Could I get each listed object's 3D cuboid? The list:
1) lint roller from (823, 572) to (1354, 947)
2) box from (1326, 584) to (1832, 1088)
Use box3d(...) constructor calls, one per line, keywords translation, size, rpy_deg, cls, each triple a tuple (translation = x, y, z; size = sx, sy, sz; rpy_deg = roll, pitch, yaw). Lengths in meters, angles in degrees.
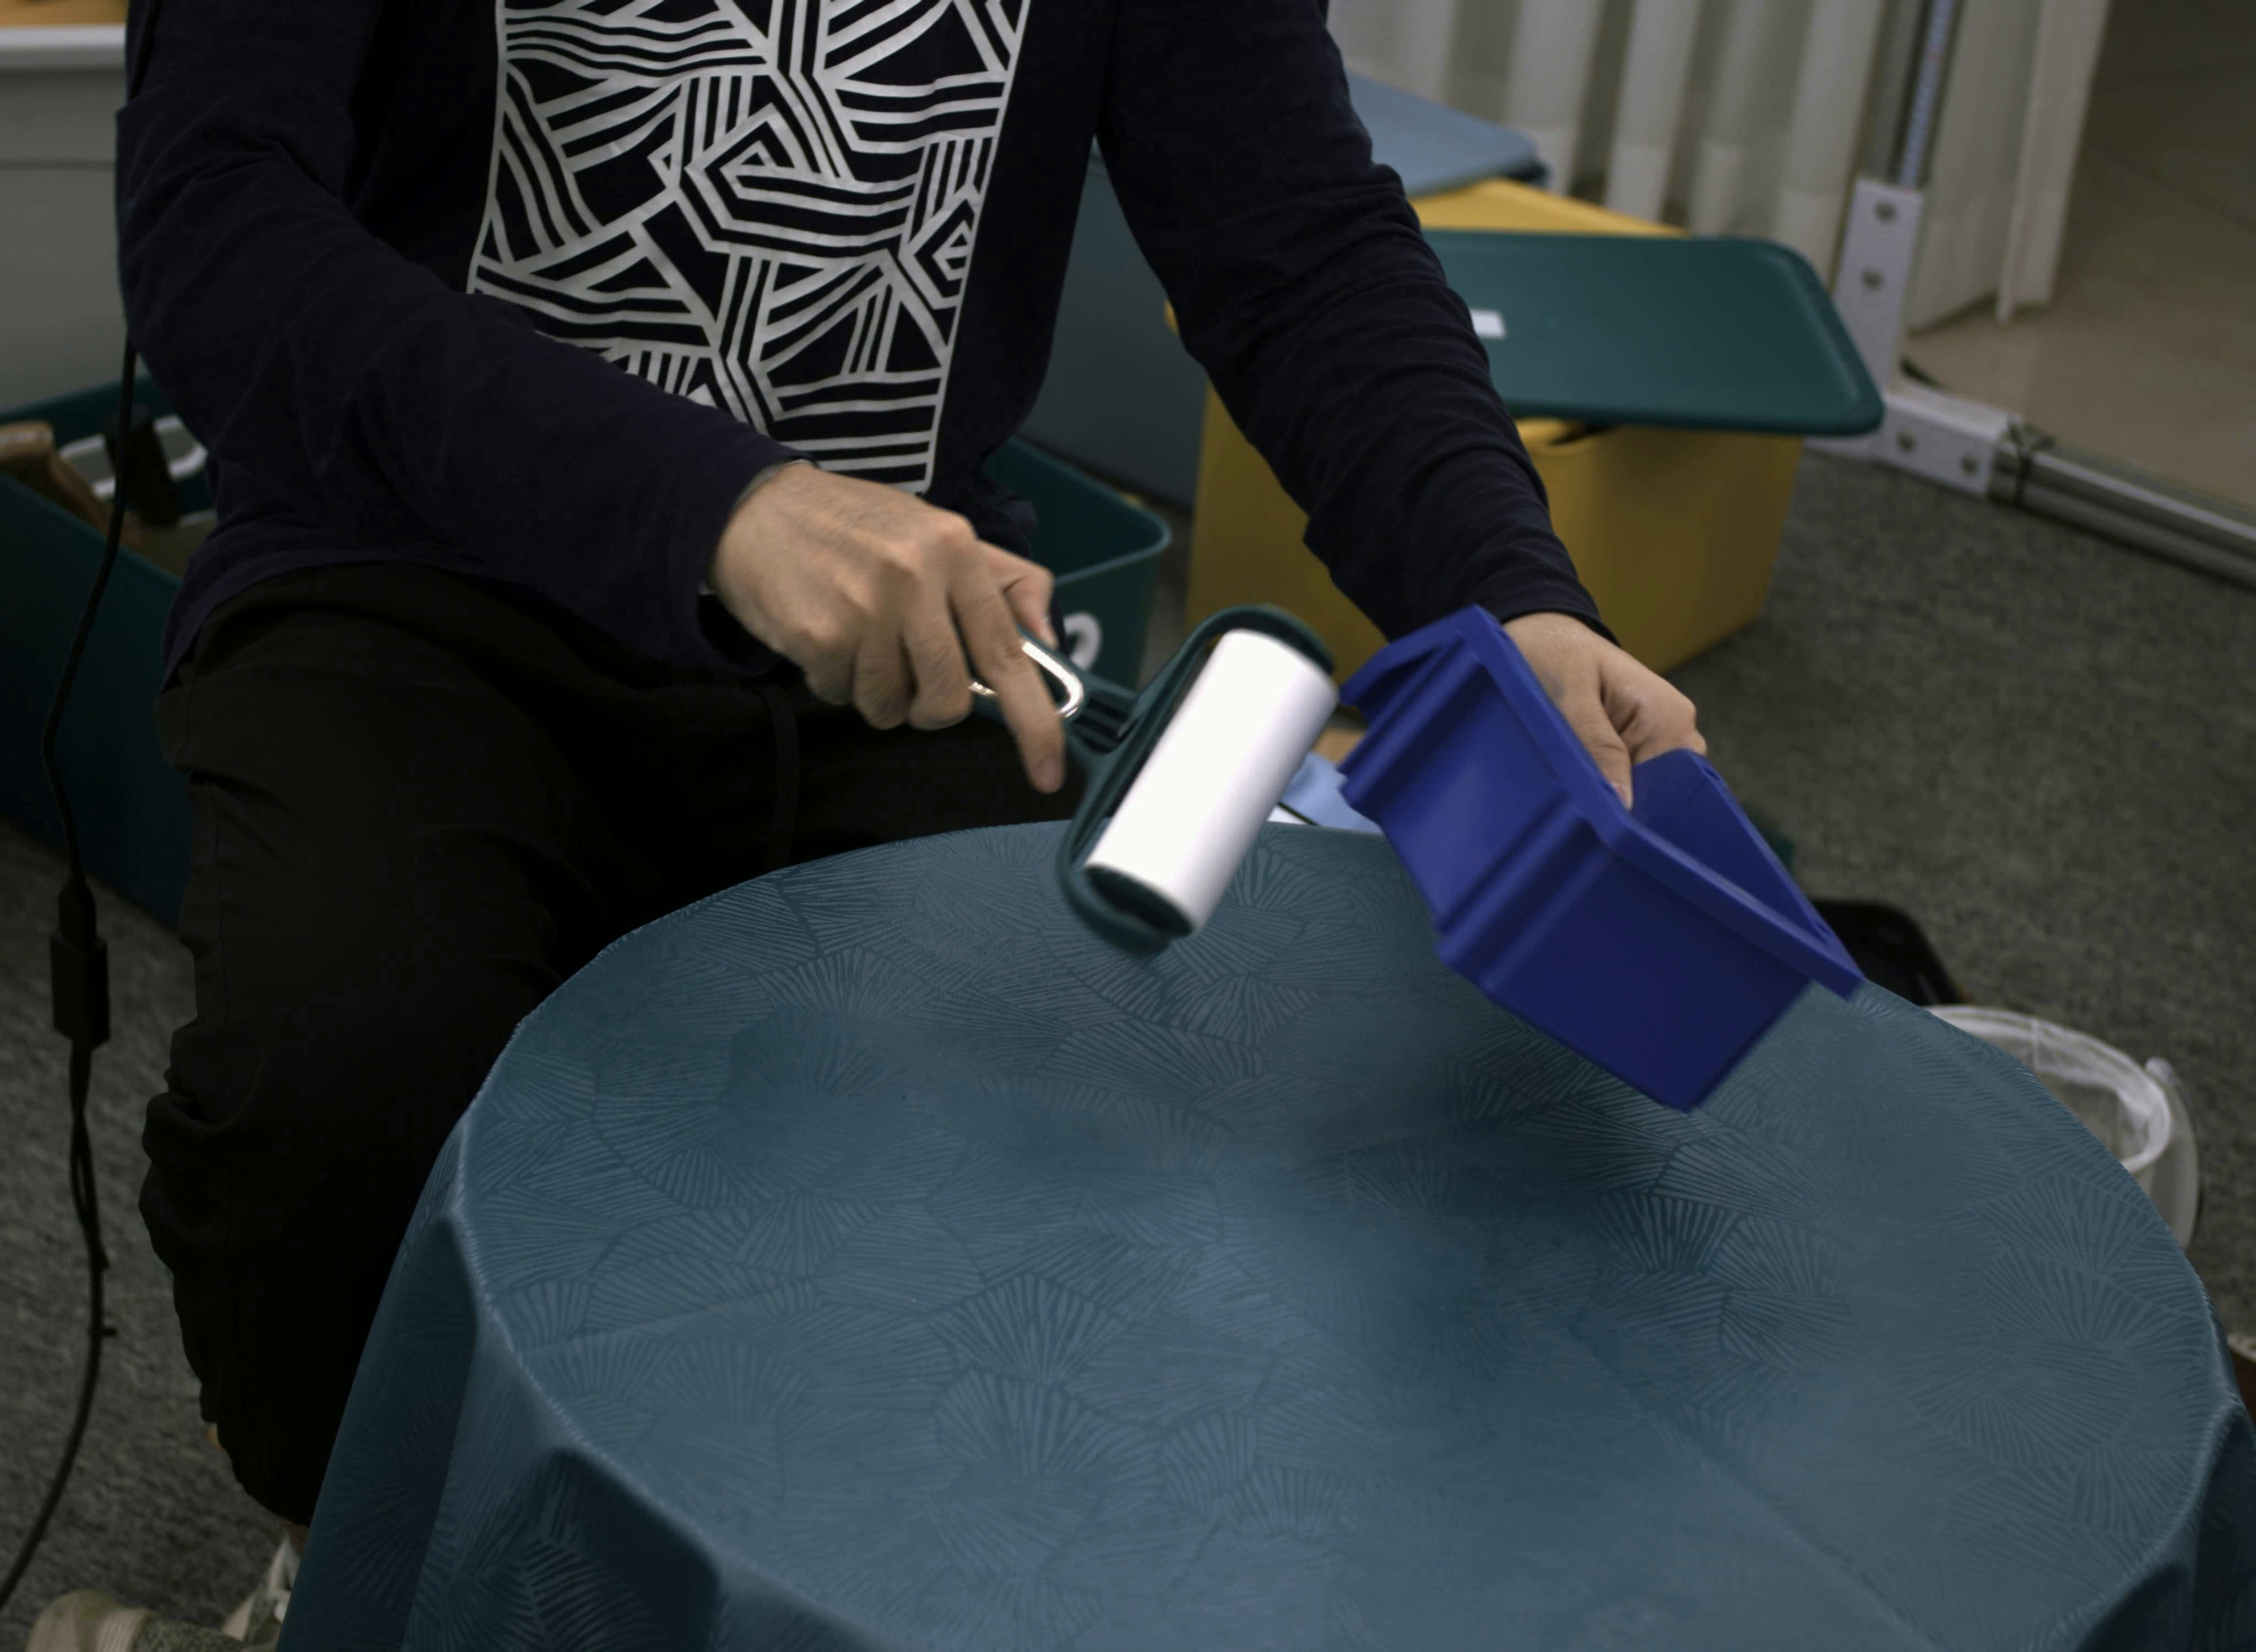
box3d(translation=(-0.027, -0.049, 1.857), size=(0.180, 0.048, 0.134), rpy_deg=(28, 73, 8), cls="lint roller")
box3d(translation=(0.146, -0.001, 1.835), size=(0.123, 0.082, 0.181), rpy_deg=(31, 19, -27), cls="box")
